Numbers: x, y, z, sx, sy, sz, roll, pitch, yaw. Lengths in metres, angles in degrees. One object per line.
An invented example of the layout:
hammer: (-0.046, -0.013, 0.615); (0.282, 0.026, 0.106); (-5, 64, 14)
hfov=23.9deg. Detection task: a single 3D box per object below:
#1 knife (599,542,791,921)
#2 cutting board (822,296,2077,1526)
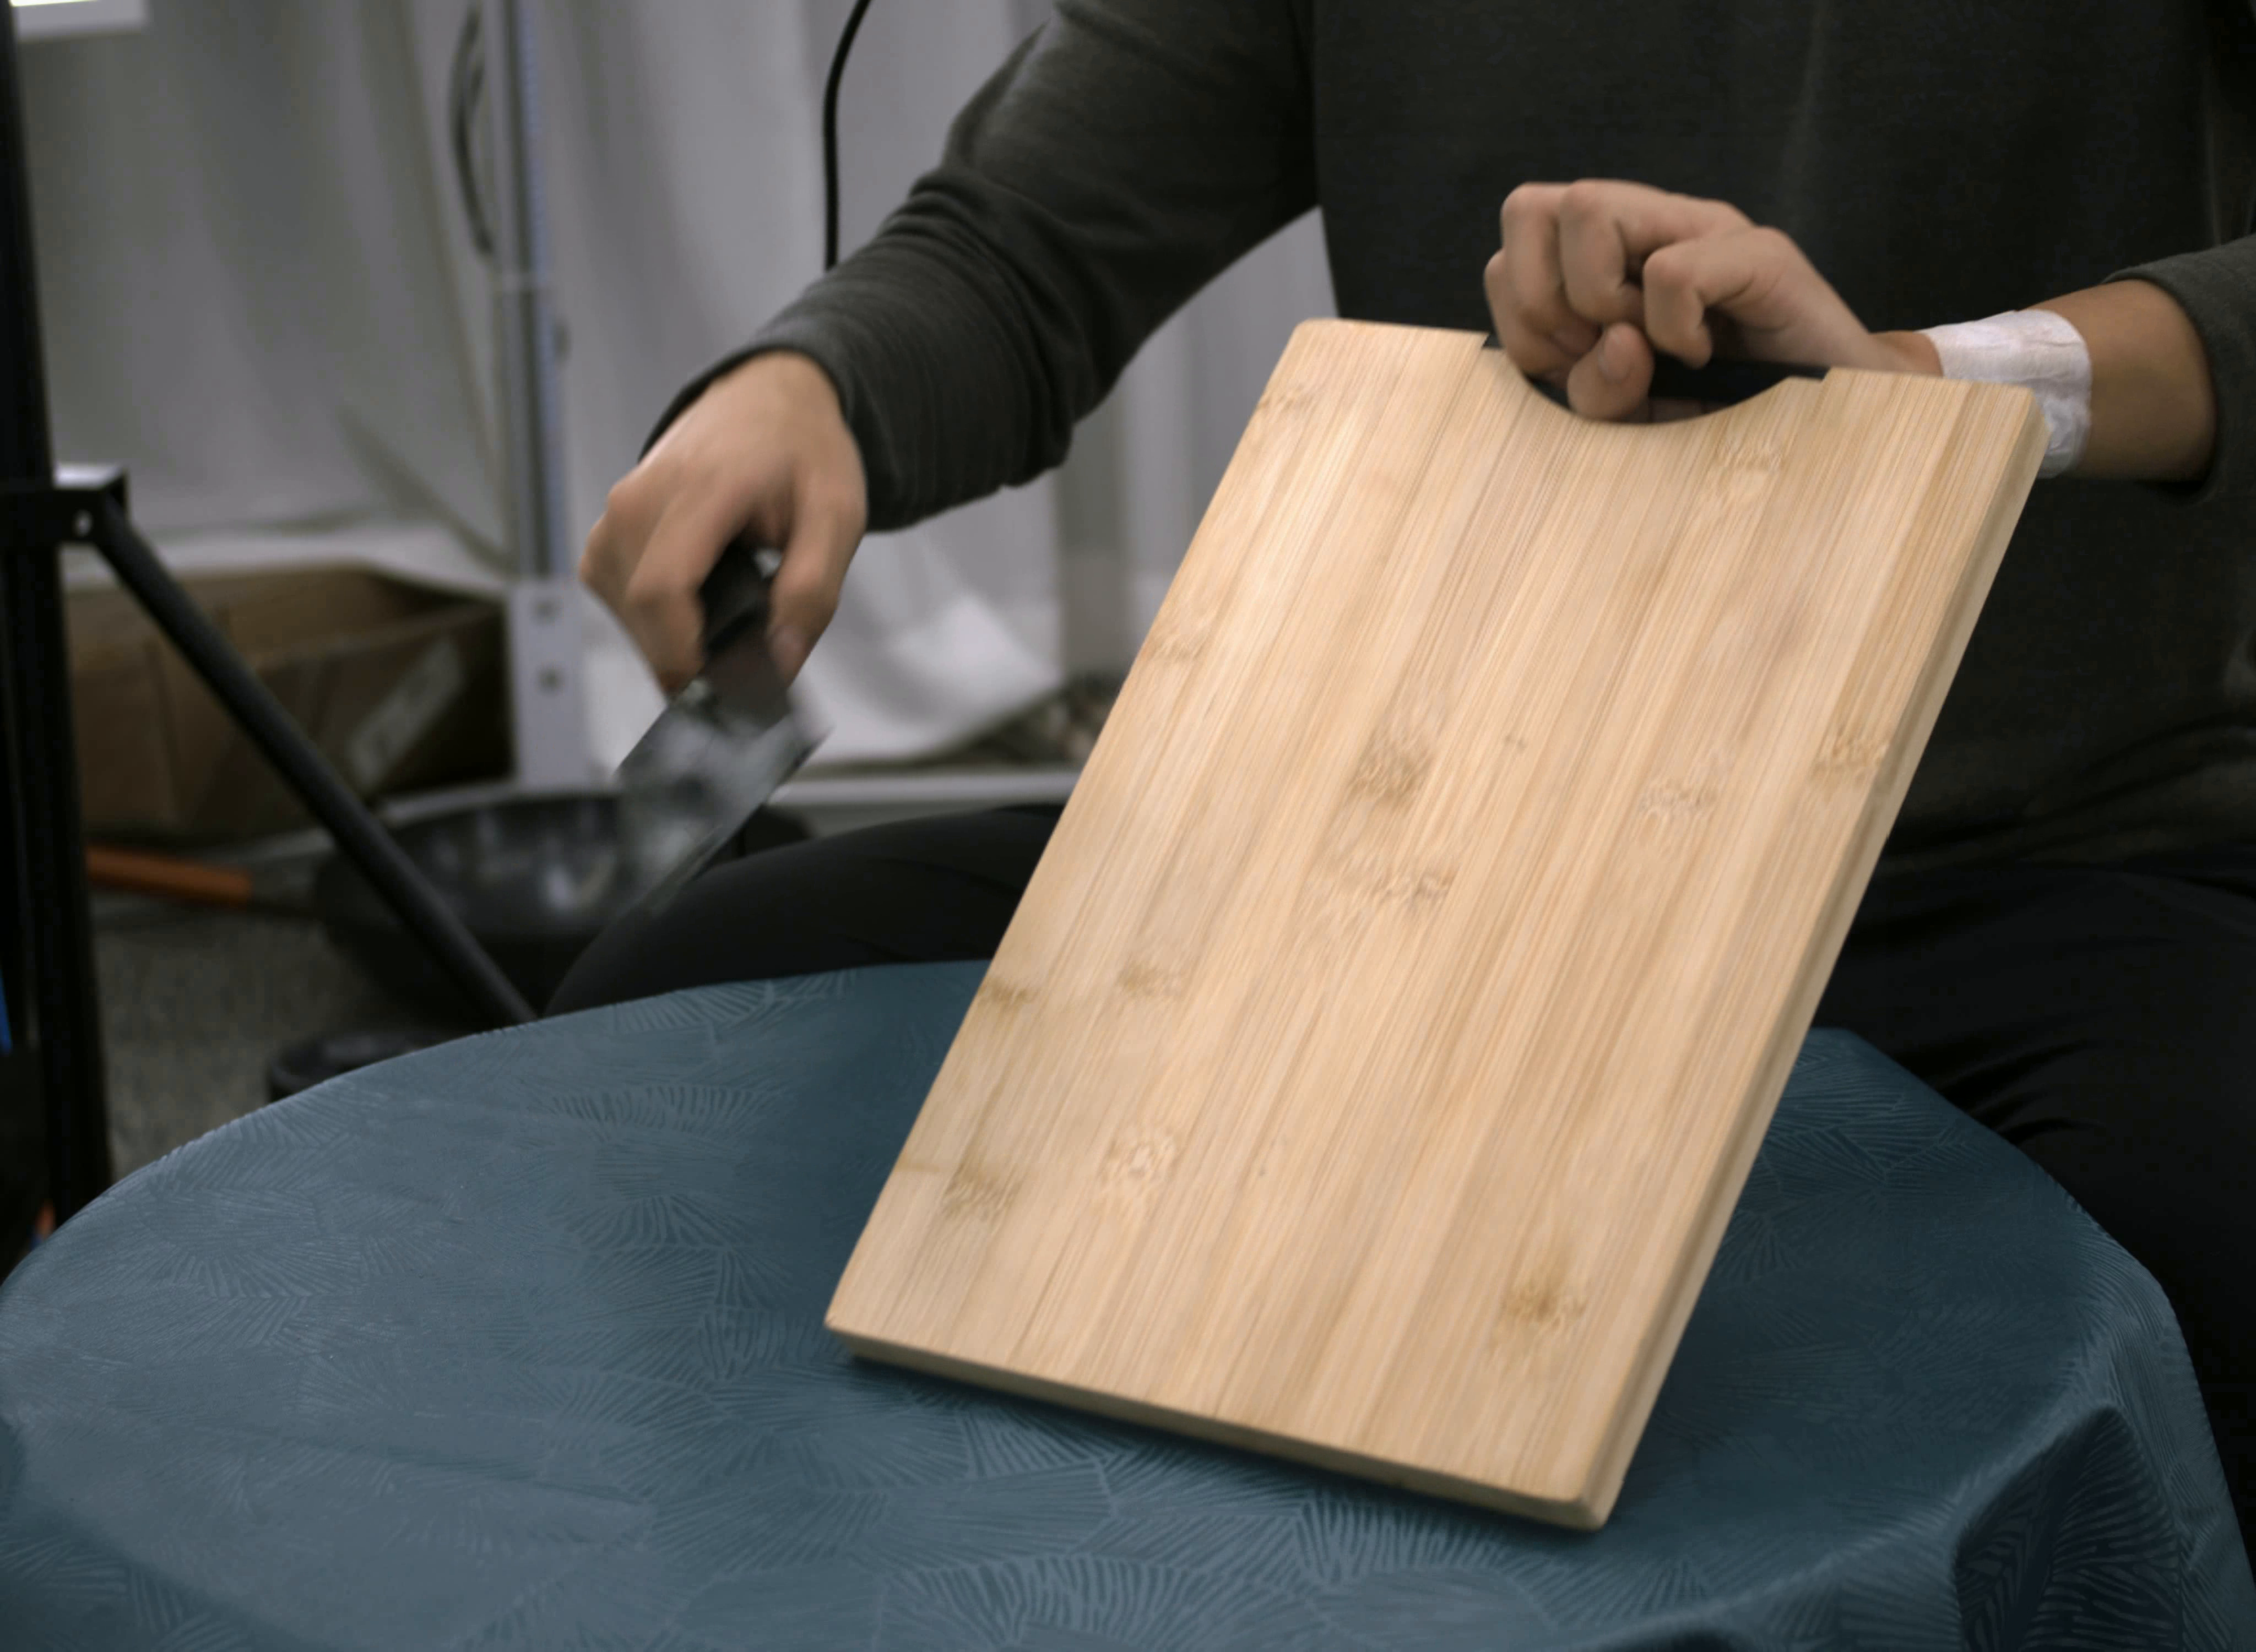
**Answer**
knife: (-0.127, -0.033, 1.555); (0.081, 0.020, 0.304); (-46, 15, 10)
cutting board: (0.086, 0.010, 1.430); (0.256, 0.023, 0.349); (8, 62, 35)
